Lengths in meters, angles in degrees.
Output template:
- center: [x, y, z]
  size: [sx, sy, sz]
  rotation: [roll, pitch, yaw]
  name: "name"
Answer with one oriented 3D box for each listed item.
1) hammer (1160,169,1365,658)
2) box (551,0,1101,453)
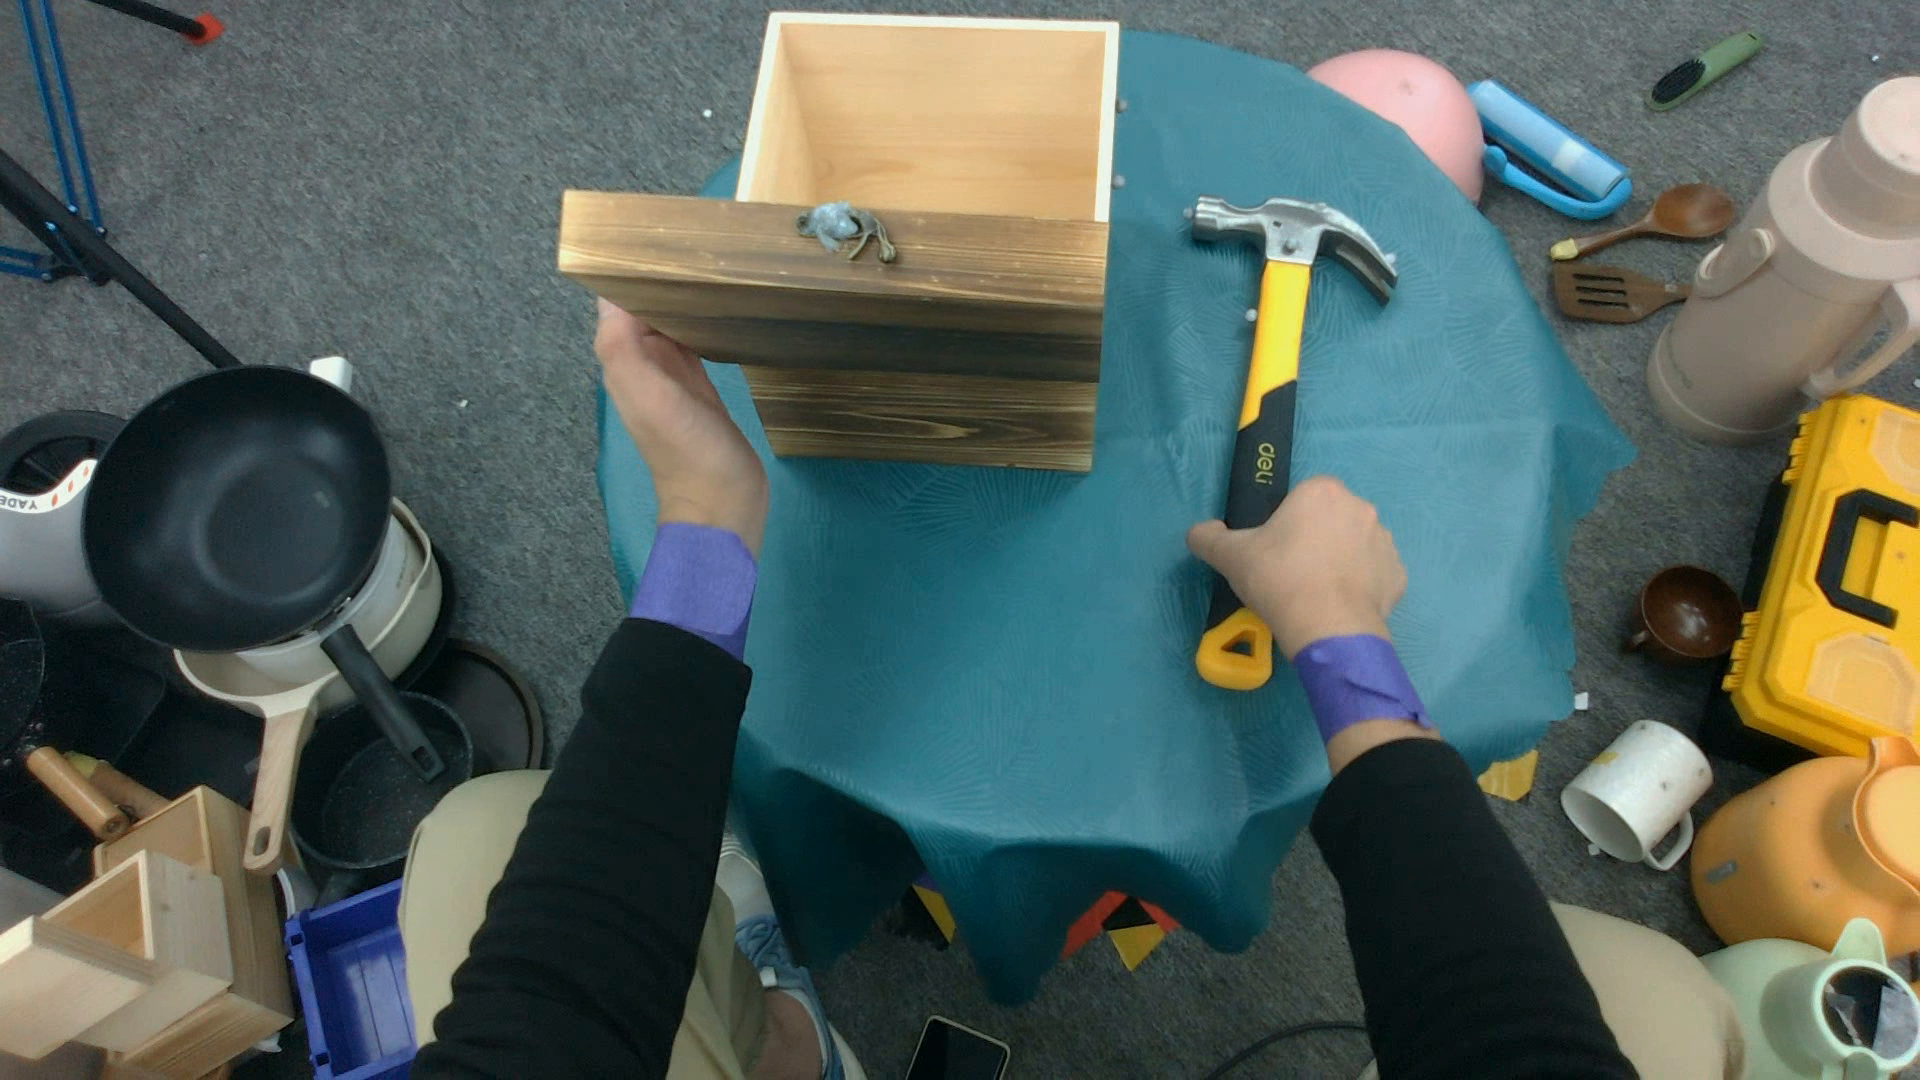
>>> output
- center: [0.168, -0.087, 0.832]
  size: [0.131, 0.032, 0.340]
  rotation: [10, 63, 6]
  name: "hammer"
- center: [-0.038, -0.177, 0.713]
  size: [0.208, 0.374, 0.323]
  rotation: [3, 66, 3]
  name: "box"
